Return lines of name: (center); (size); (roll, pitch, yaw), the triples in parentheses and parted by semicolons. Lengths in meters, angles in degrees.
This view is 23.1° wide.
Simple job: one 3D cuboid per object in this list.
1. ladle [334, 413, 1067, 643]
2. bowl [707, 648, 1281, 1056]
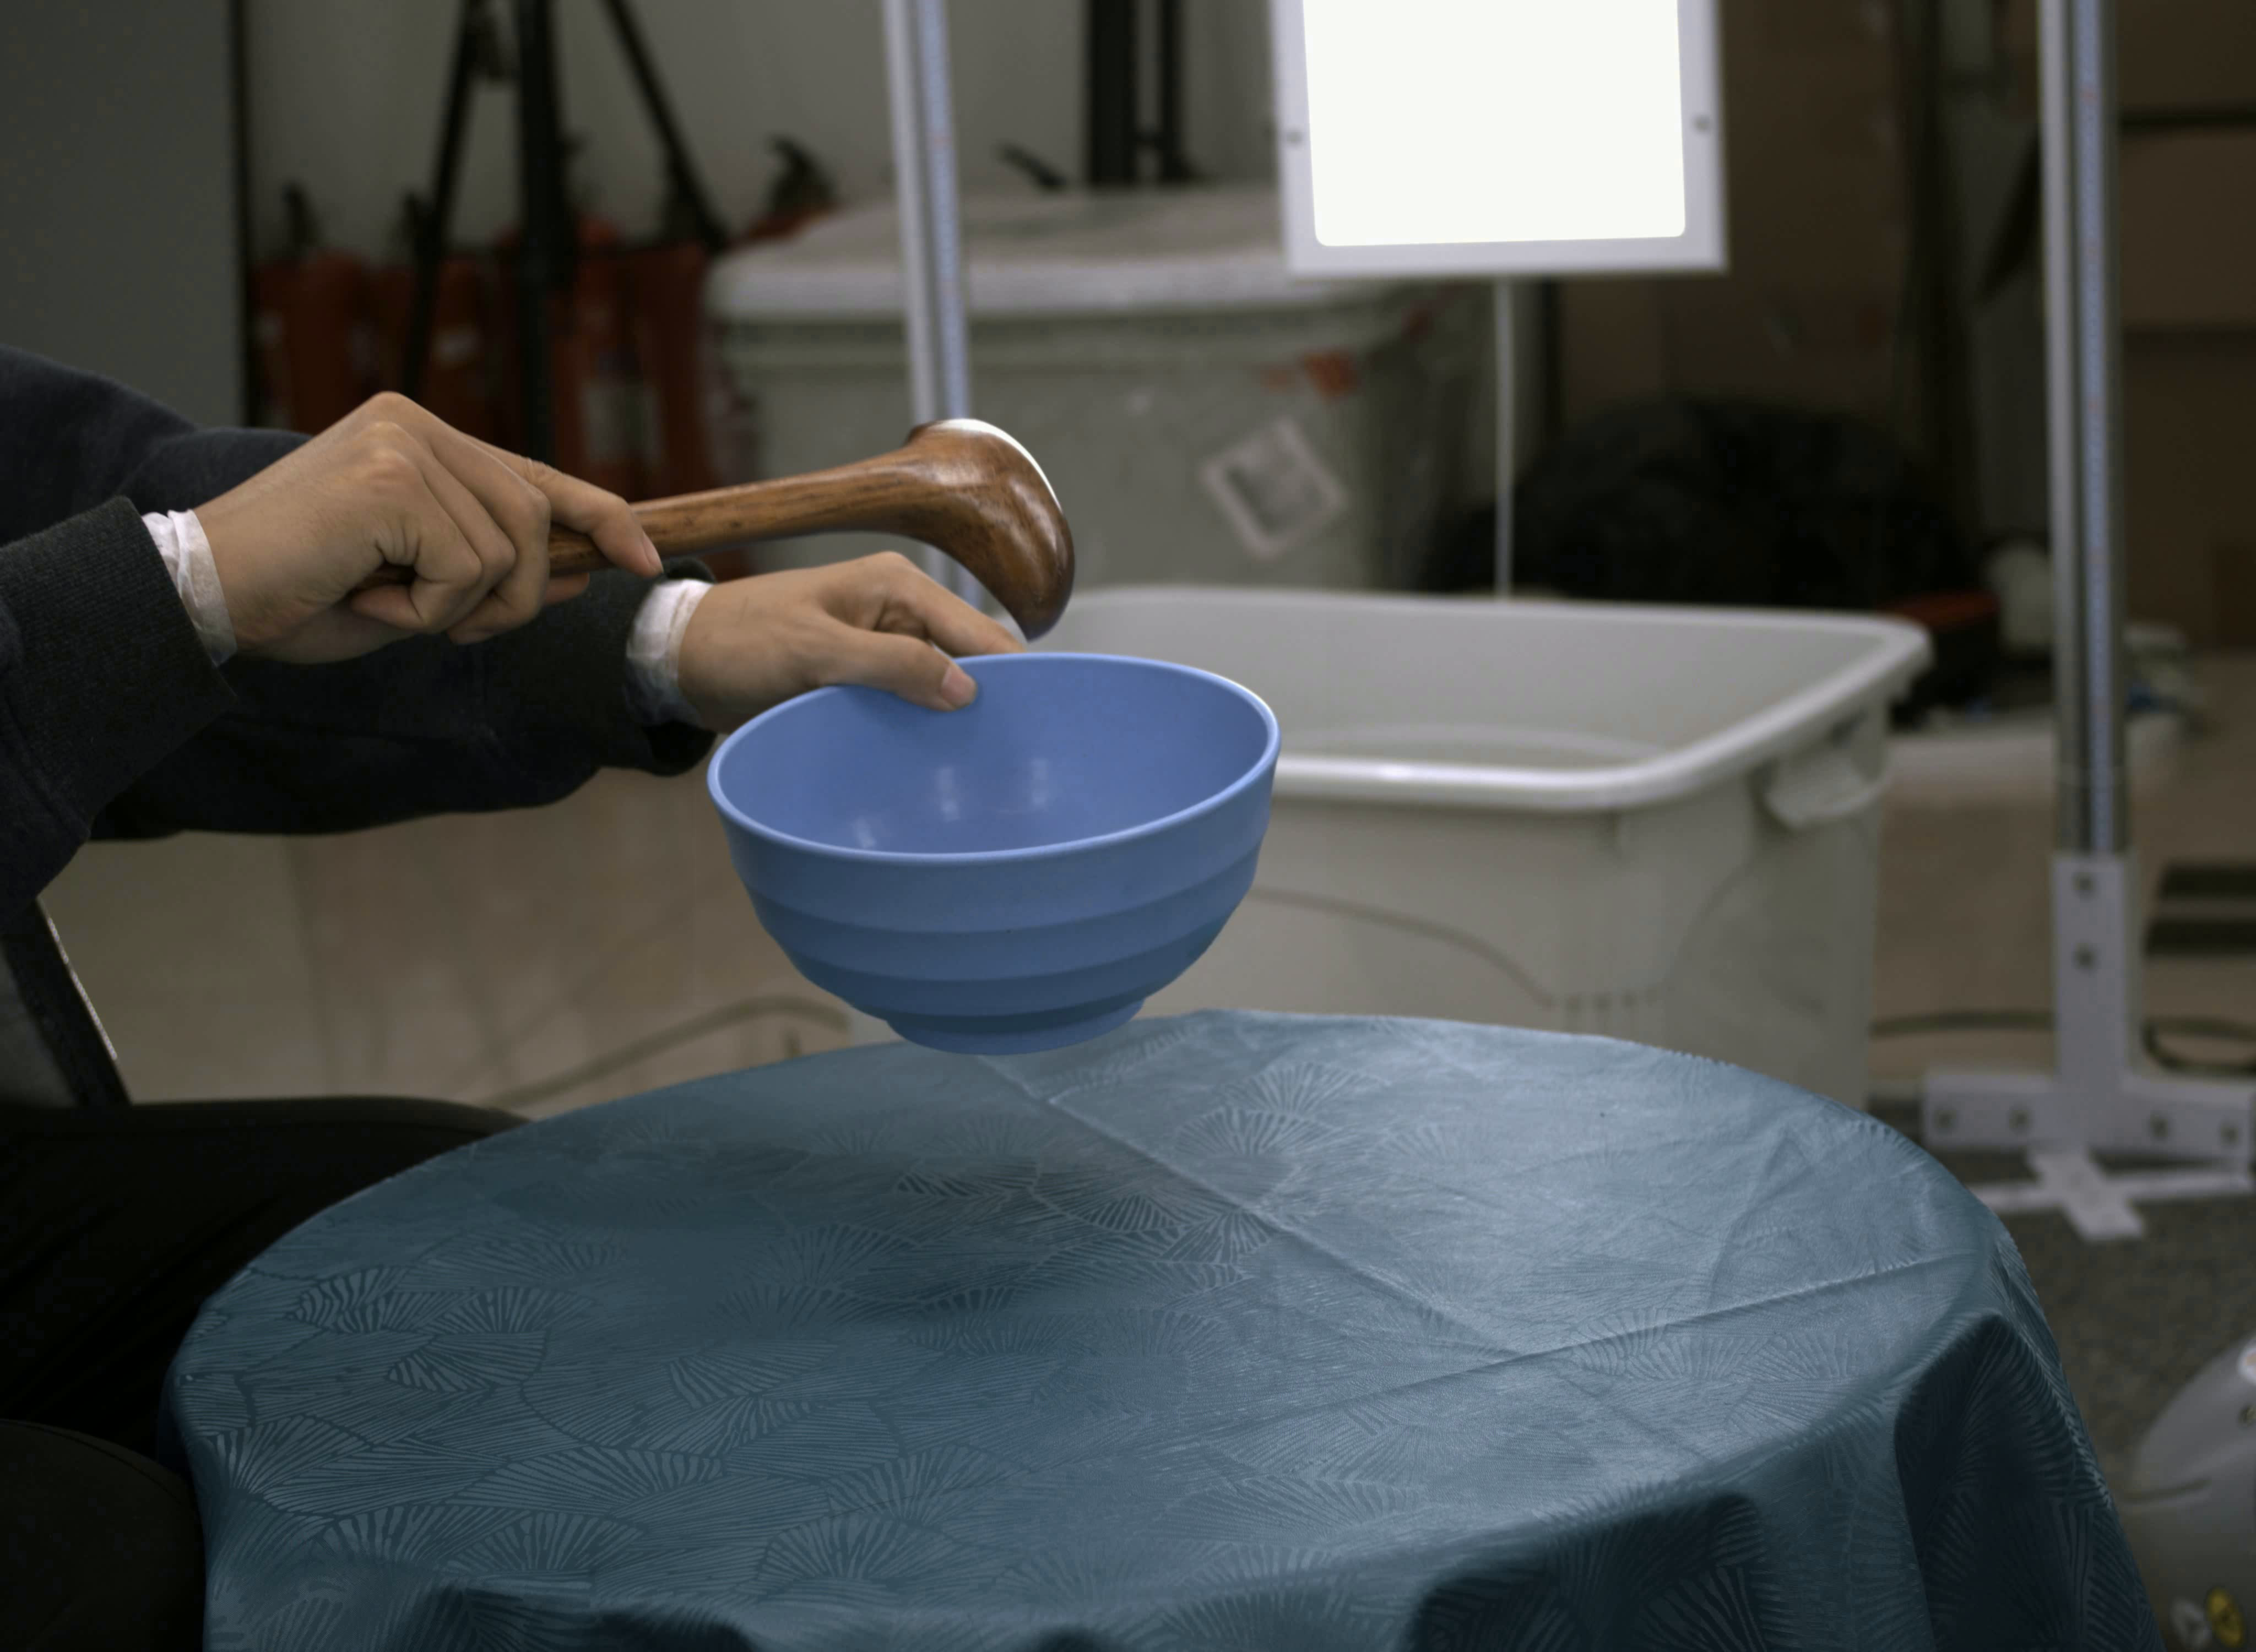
ladle: (-0.137, -0.083, 1.768); (0.268, 0.082, 0.078); (-11, -30, -29)
bowl: (-0.042, 0.017, 1.881); (0.196, 0.096, 0.196); (-6, 21, 1)
